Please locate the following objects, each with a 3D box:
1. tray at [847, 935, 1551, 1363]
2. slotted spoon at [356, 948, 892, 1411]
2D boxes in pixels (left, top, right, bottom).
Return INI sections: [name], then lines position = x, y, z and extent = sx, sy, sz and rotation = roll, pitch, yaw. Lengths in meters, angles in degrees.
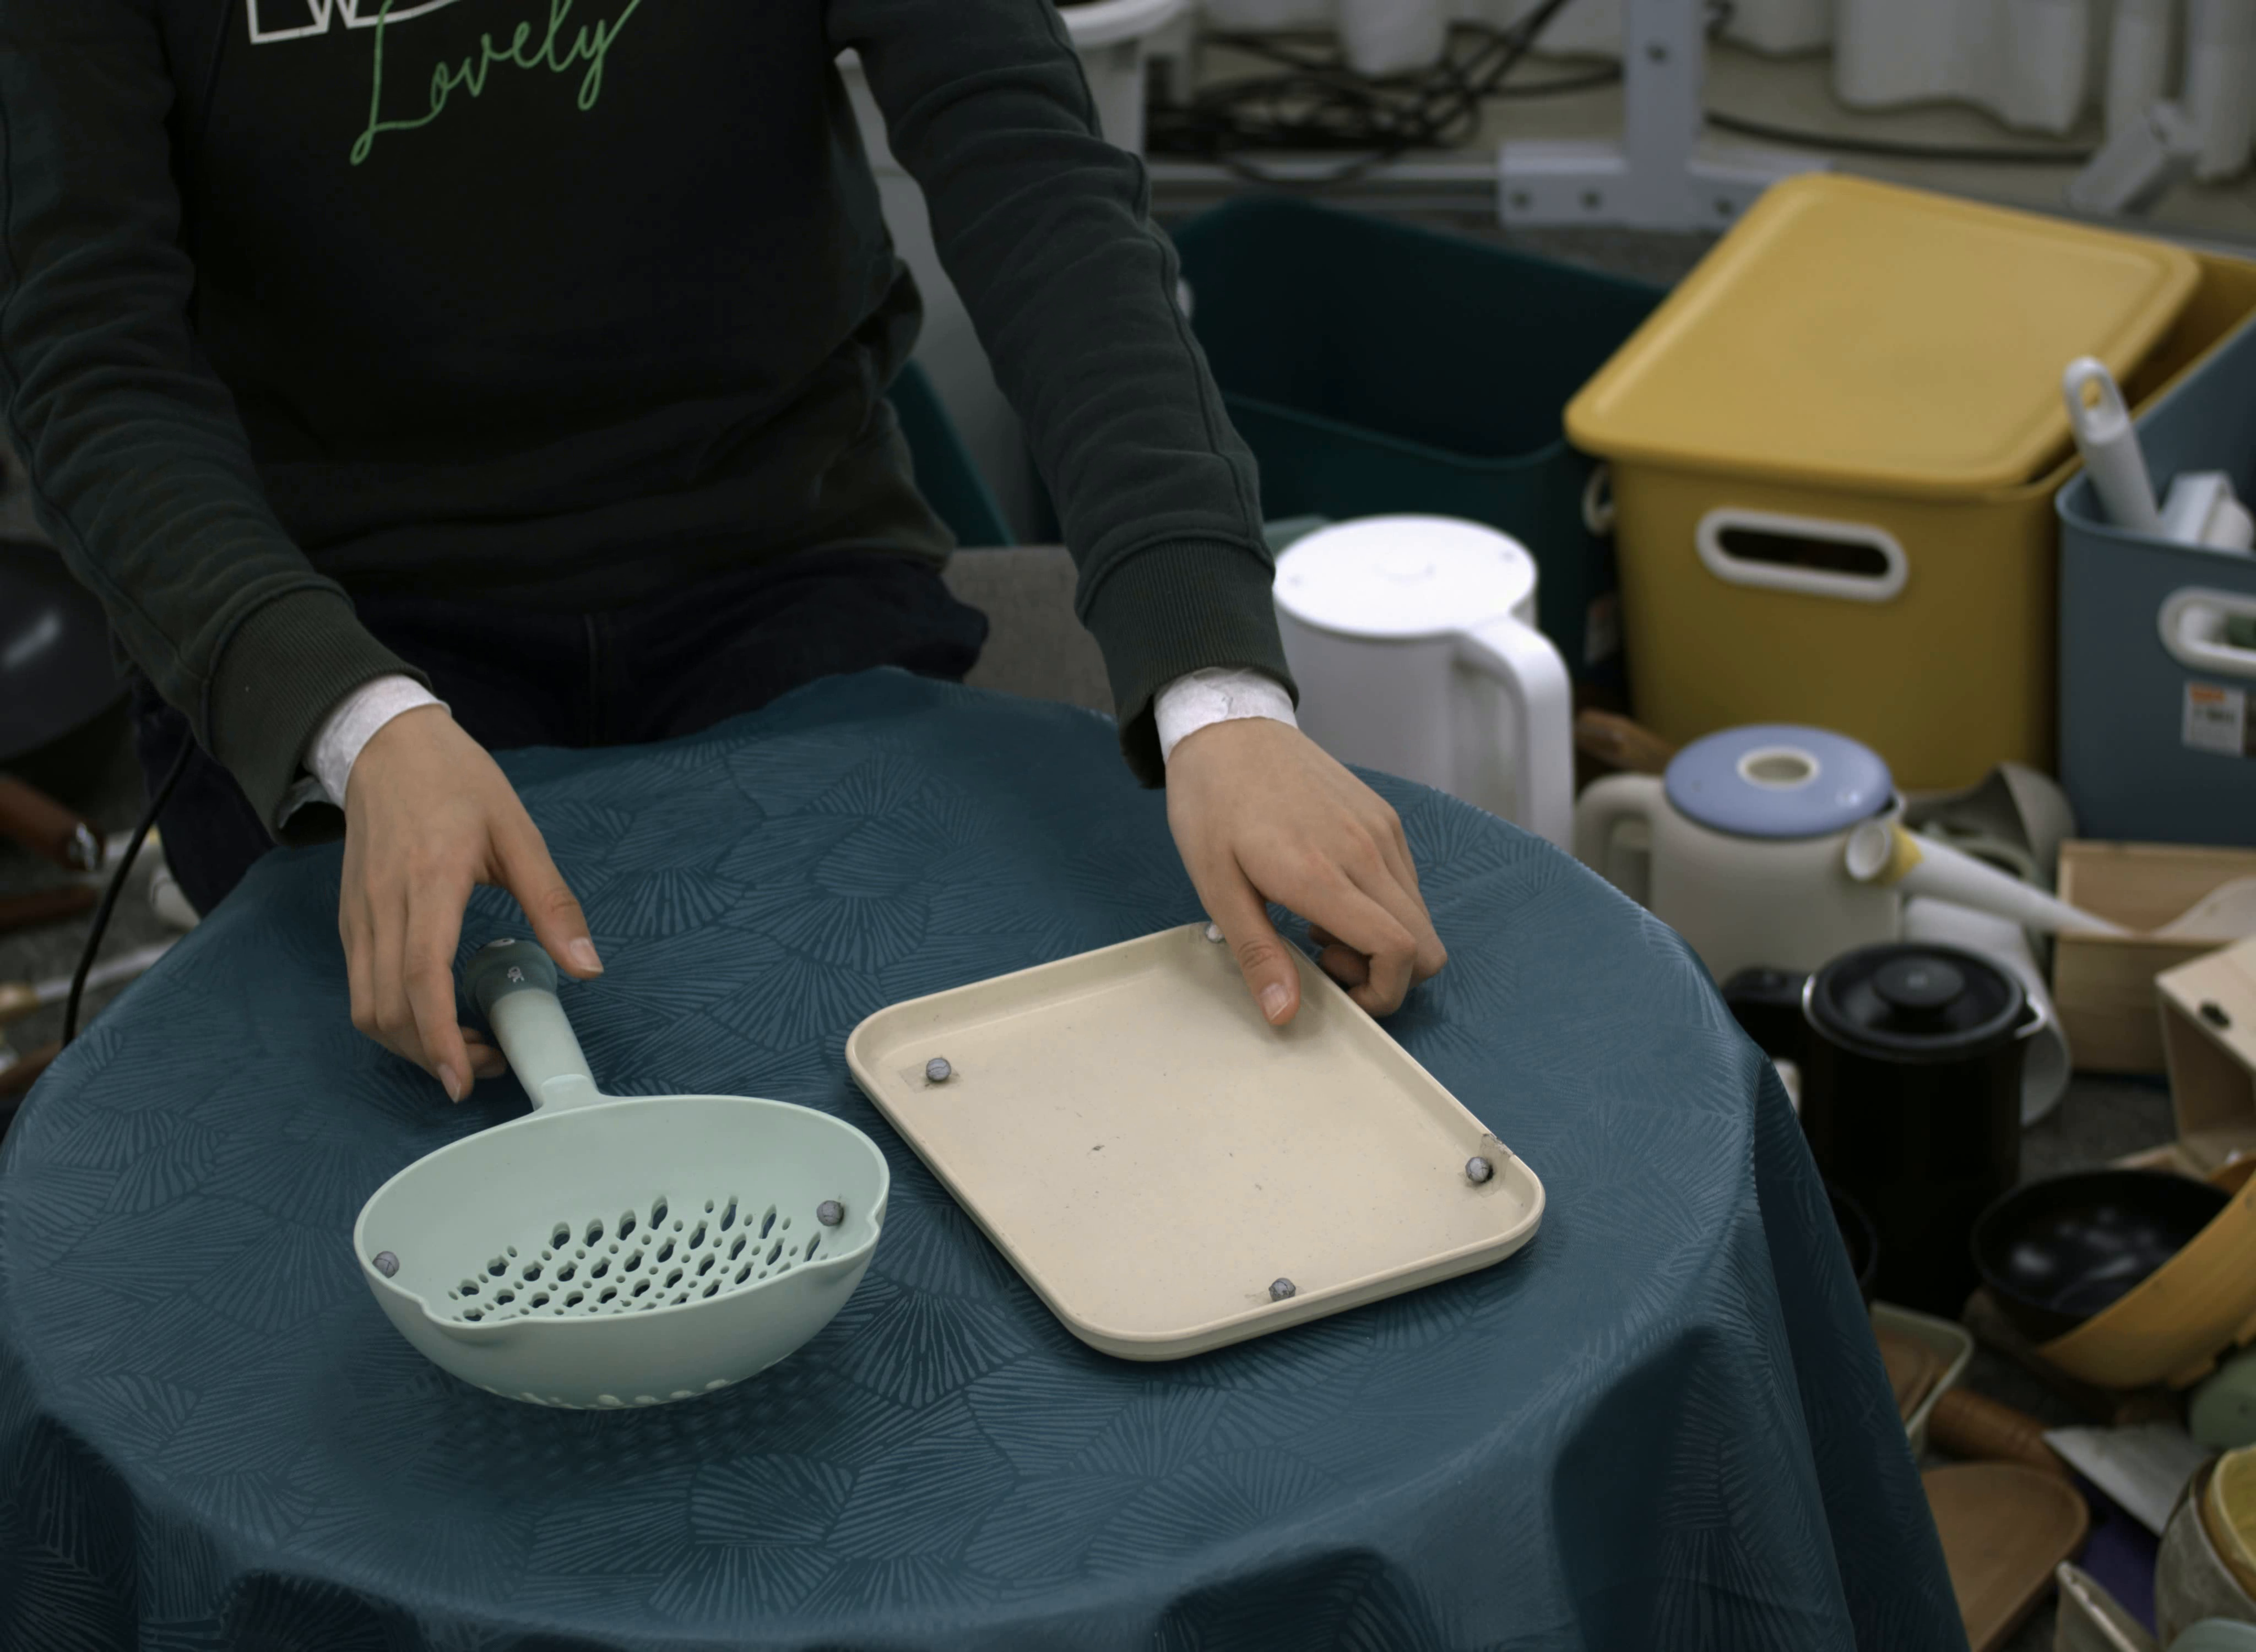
[tray]
position = 0.020, 0.106, 1.872
extent = 0.172, 0.017, 0.241
rotation = -14, 28, -21
[slotted spoon]
position = -0.181, 0.101, 1.852
extent = 0.169, 0.074, 0.362
rotation = -9, 27, -12
